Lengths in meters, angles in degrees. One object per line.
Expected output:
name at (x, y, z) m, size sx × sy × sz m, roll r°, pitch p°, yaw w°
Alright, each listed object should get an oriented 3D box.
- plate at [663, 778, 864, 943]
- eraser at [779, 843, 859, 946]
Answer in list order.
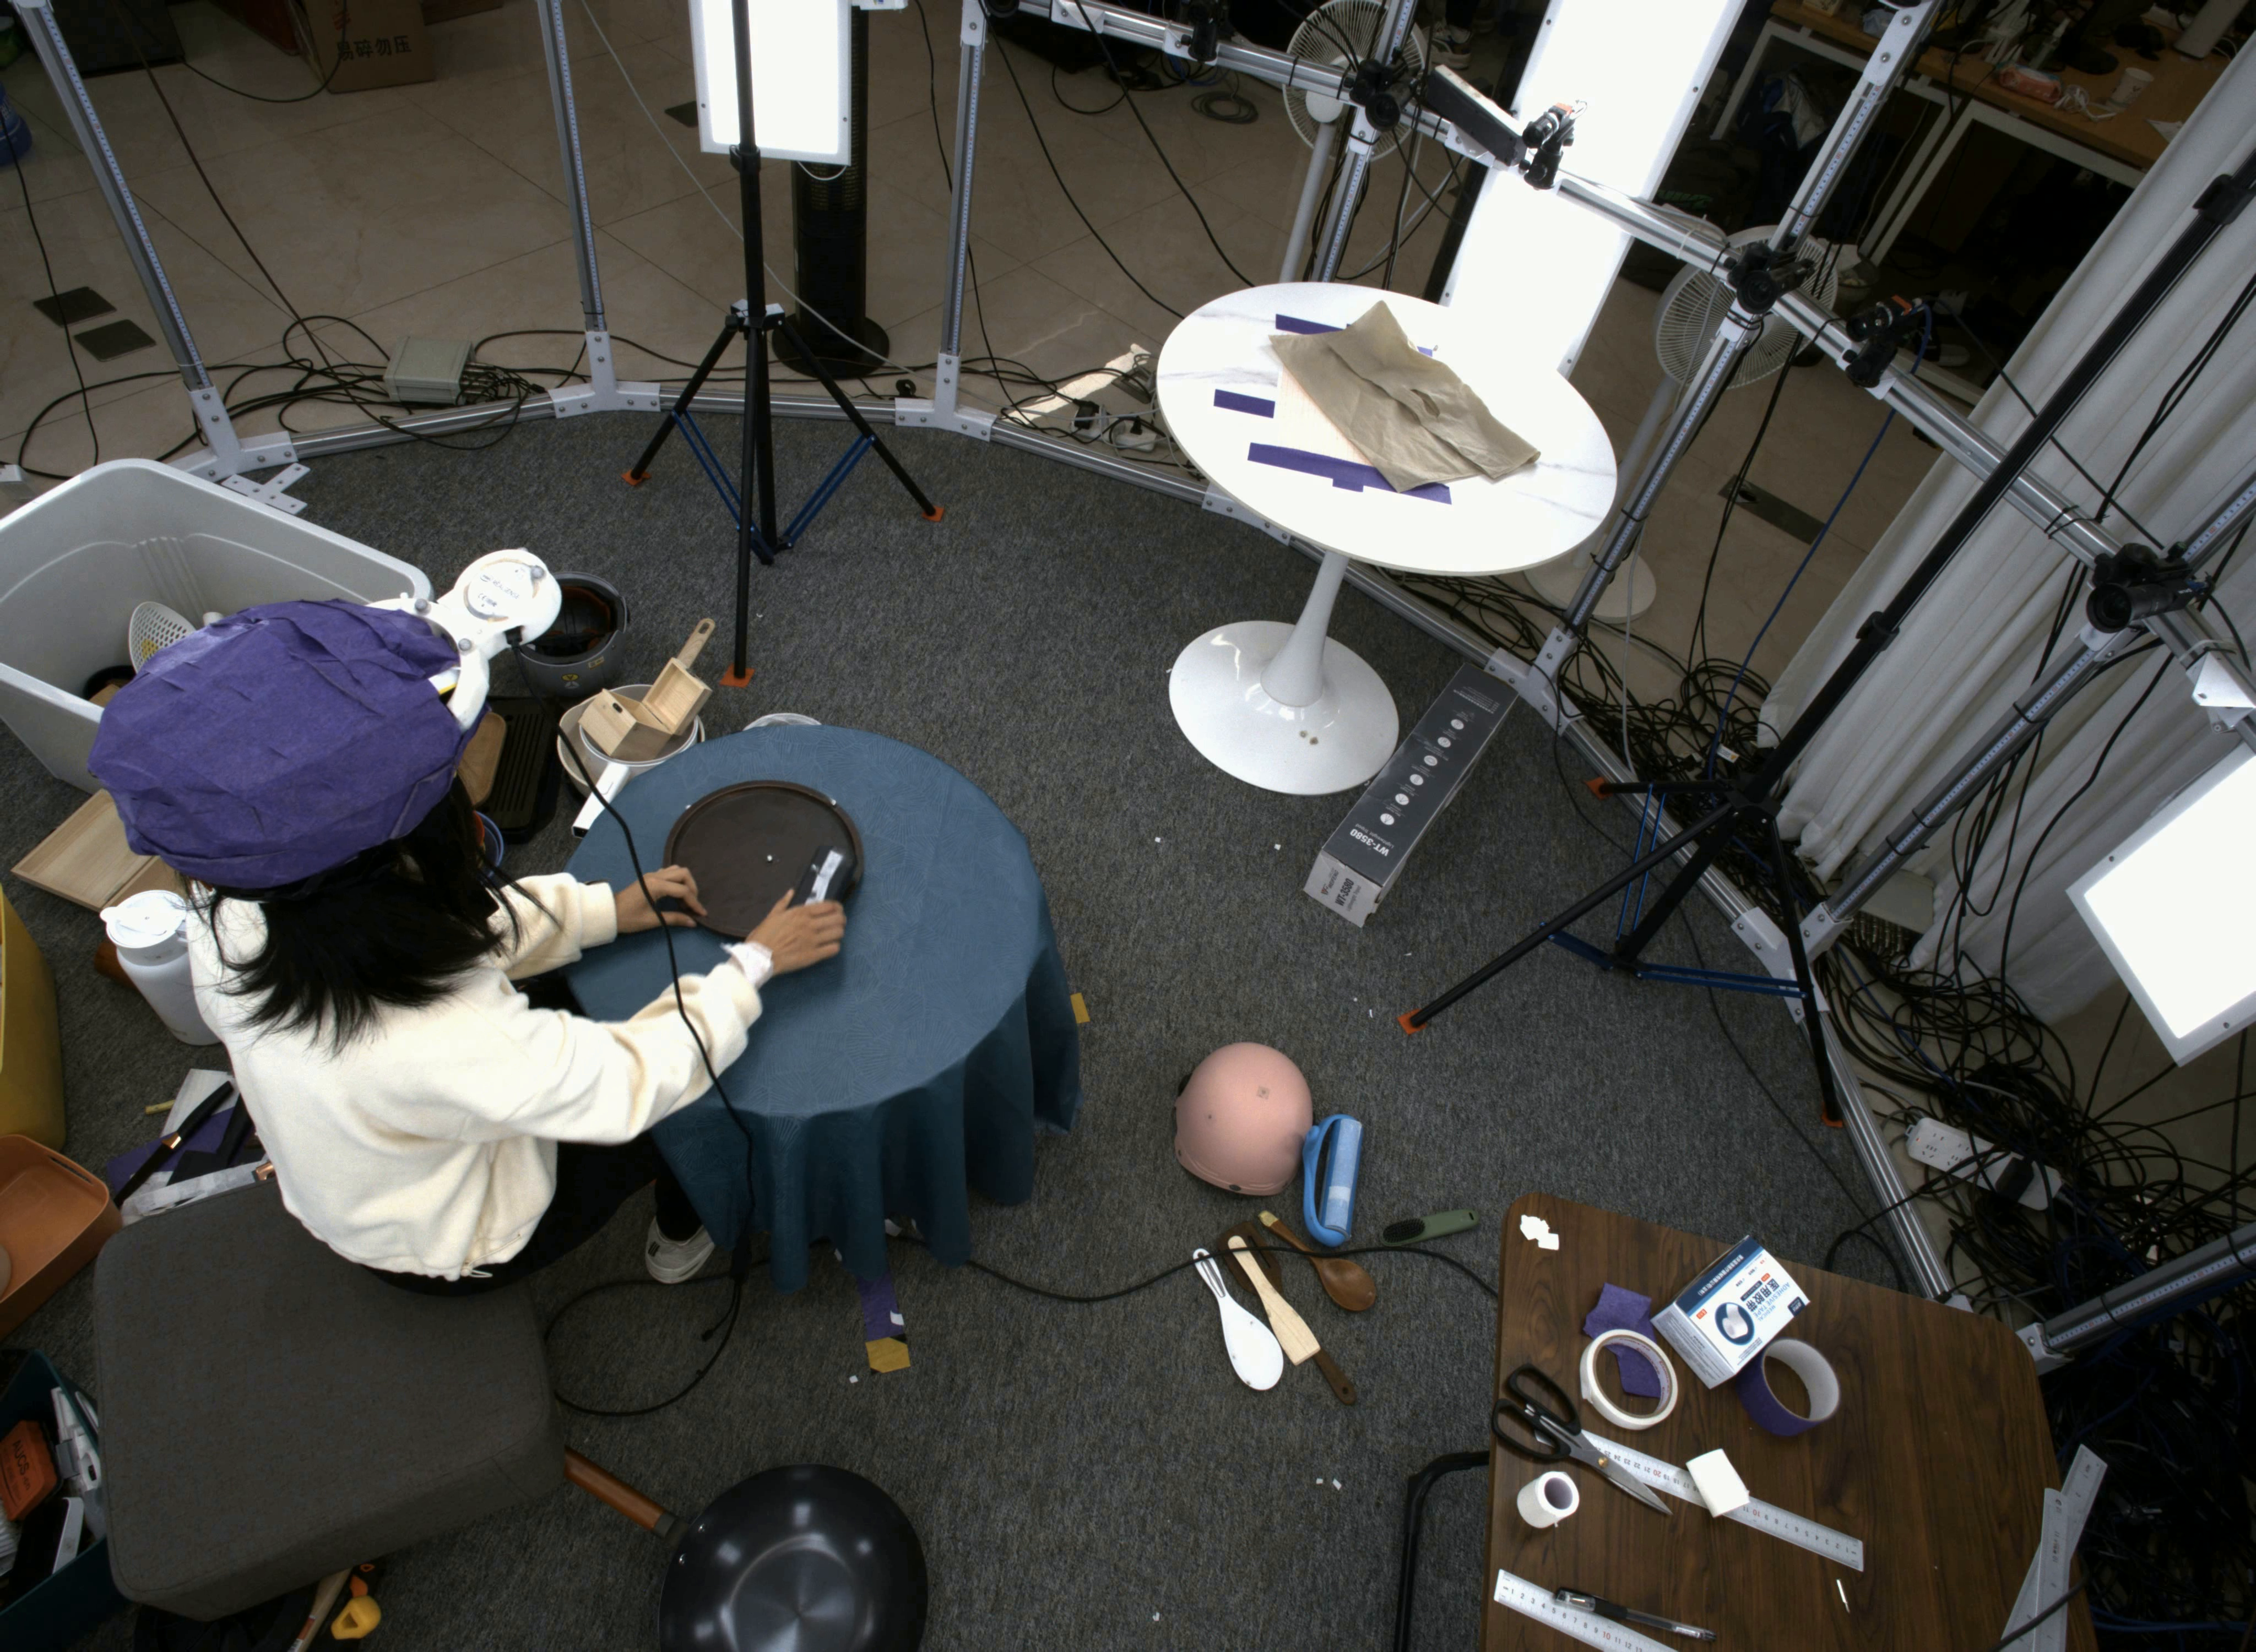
plate at (-0.466, 0.041, 1.661) m, size 0.254 × 0.029 × 0.250 m, roll 9°, pitch 51°, yaw -10°
eraser at (-0.381, 0.082, 1.604) m, size 0.053 × 0.031 × 0.124 m, roll 21°, pitch 60°, yaw -2°
